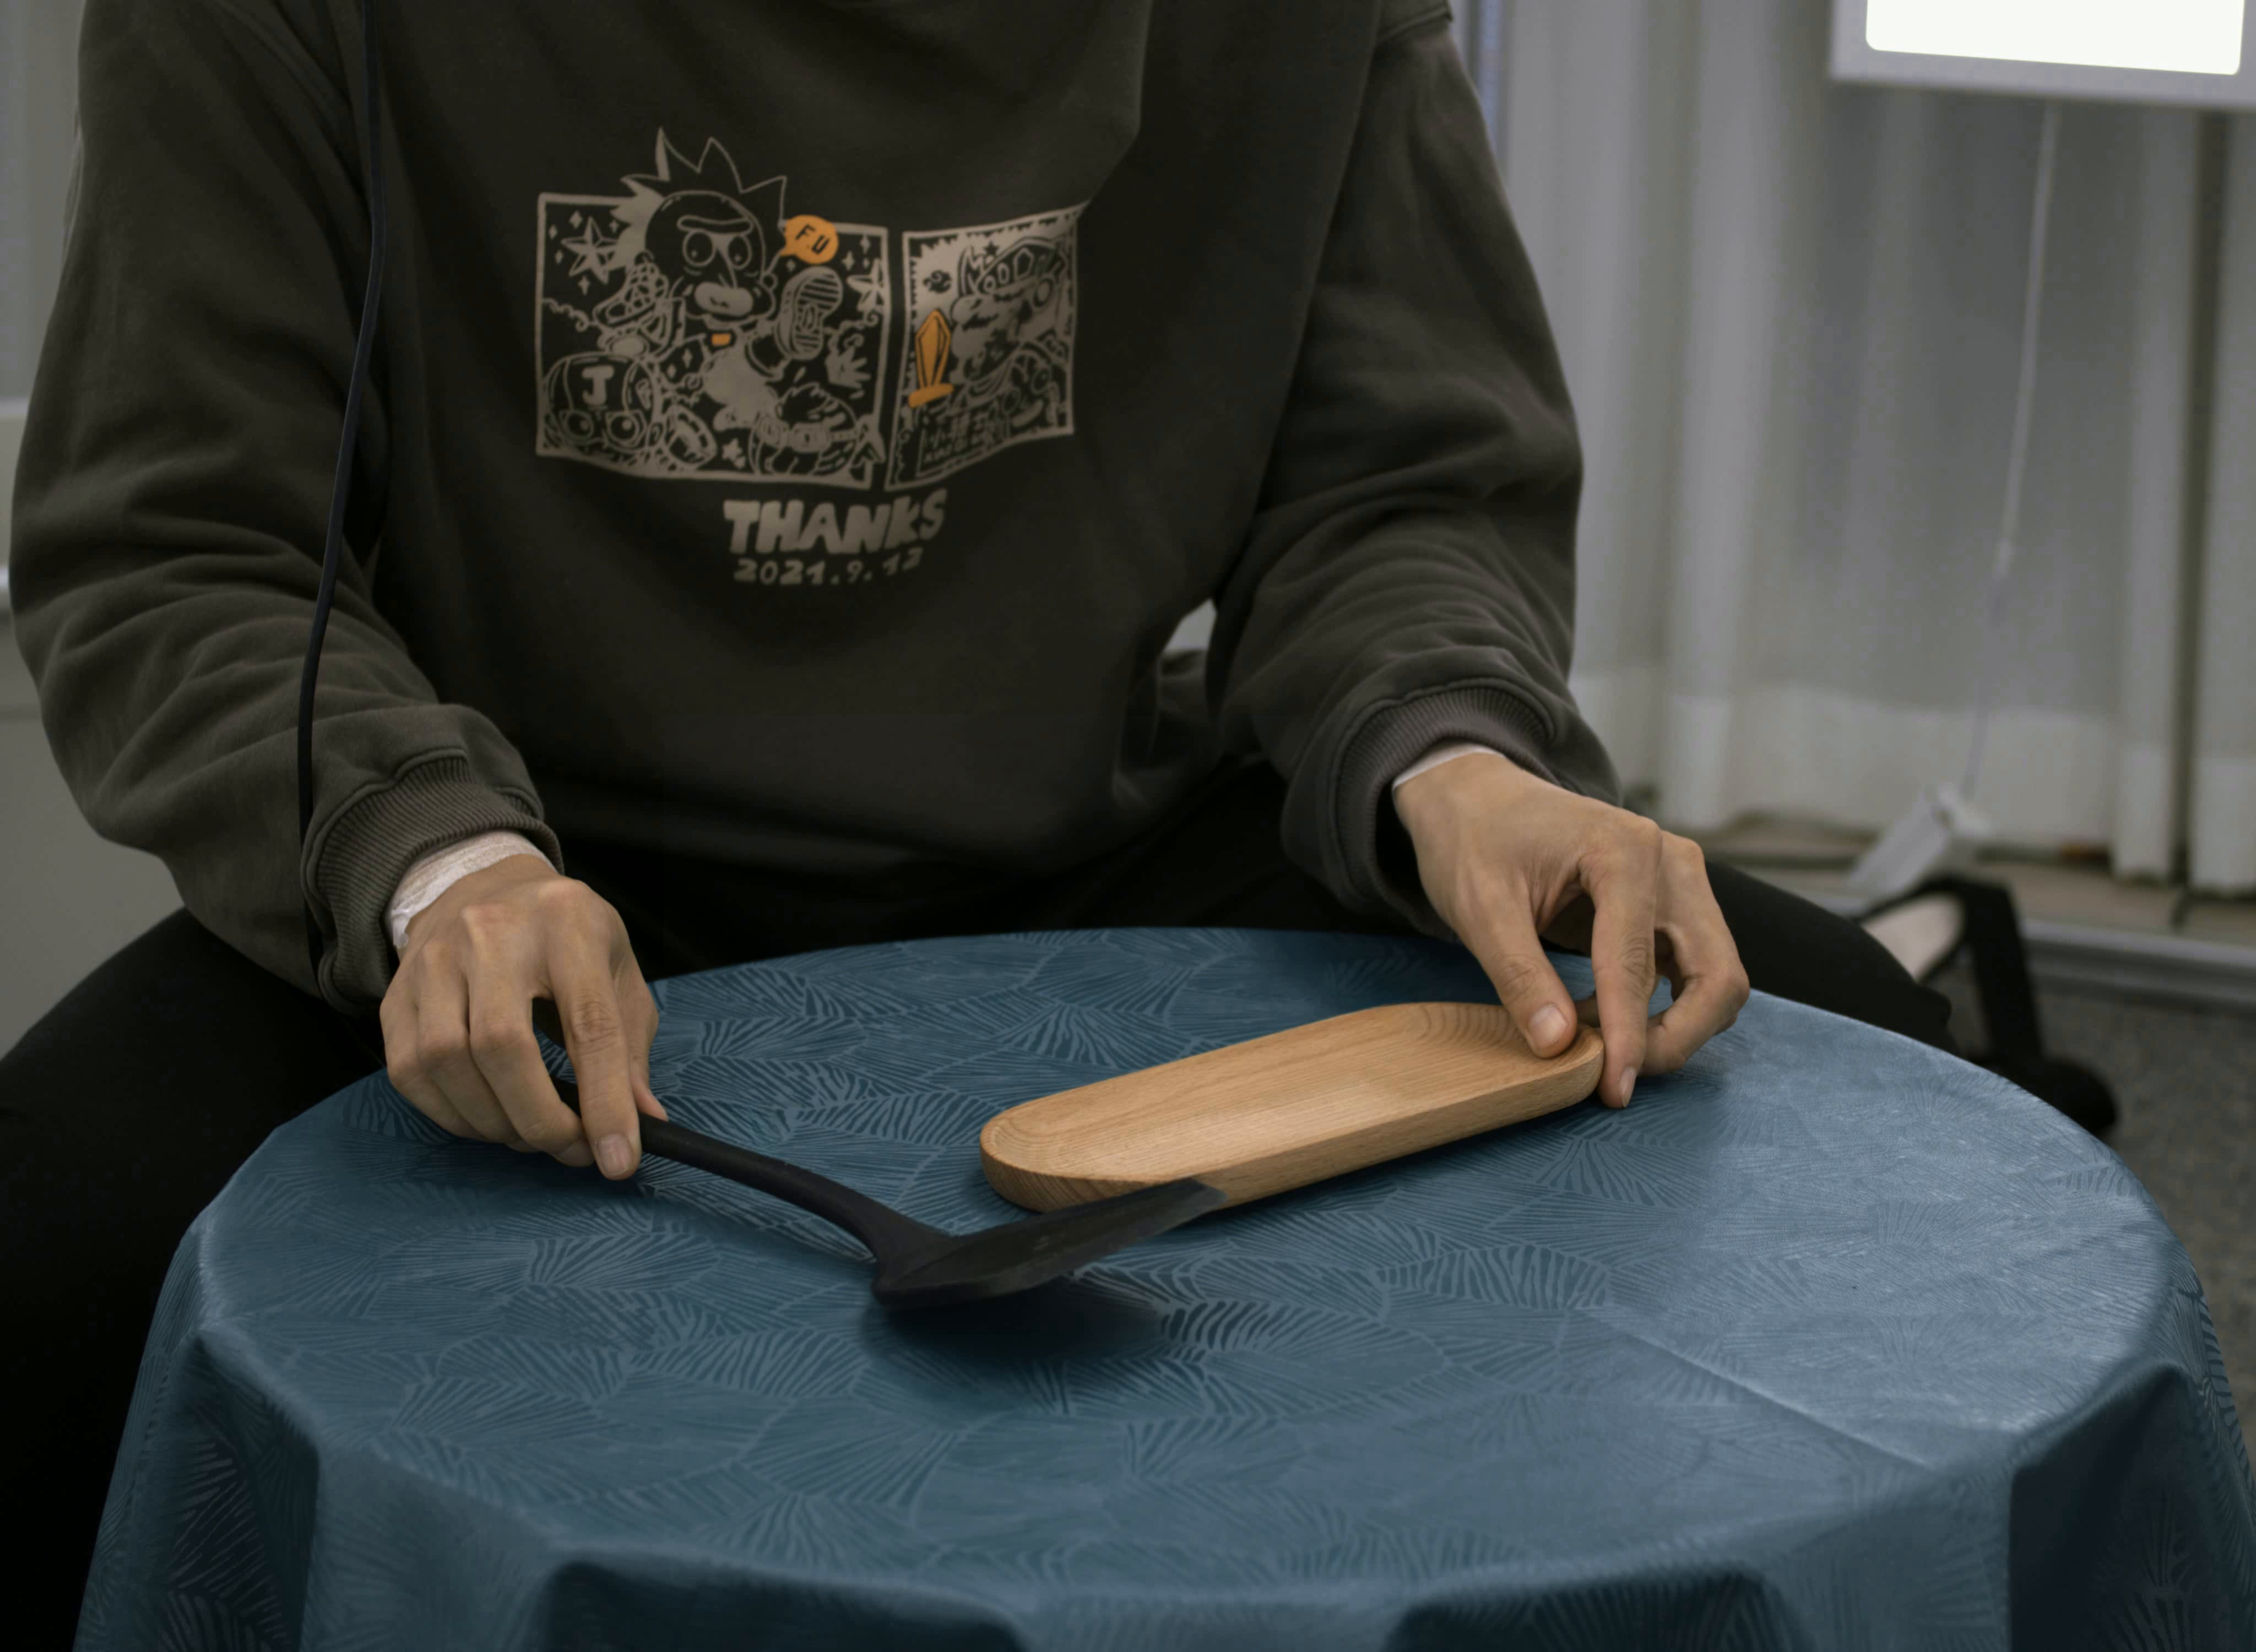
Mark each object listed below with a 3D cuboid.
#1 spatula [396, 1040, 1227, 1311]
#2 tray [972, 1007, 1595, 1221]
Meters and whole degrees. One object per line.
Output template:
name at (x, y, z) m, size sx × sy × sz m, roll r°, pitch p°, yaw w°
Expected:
spatula at (-0.116, 0.098, 1.594) m, size 0.321 × 0.041 × 0.100 m, roll 18°, pitch 25°, yaw 39°
tray at (0.052, 0.091, 1.676) m, size 0.232 × 0.020 × 0.100 m, roll -14°, pitch 18°, yaw -39°
